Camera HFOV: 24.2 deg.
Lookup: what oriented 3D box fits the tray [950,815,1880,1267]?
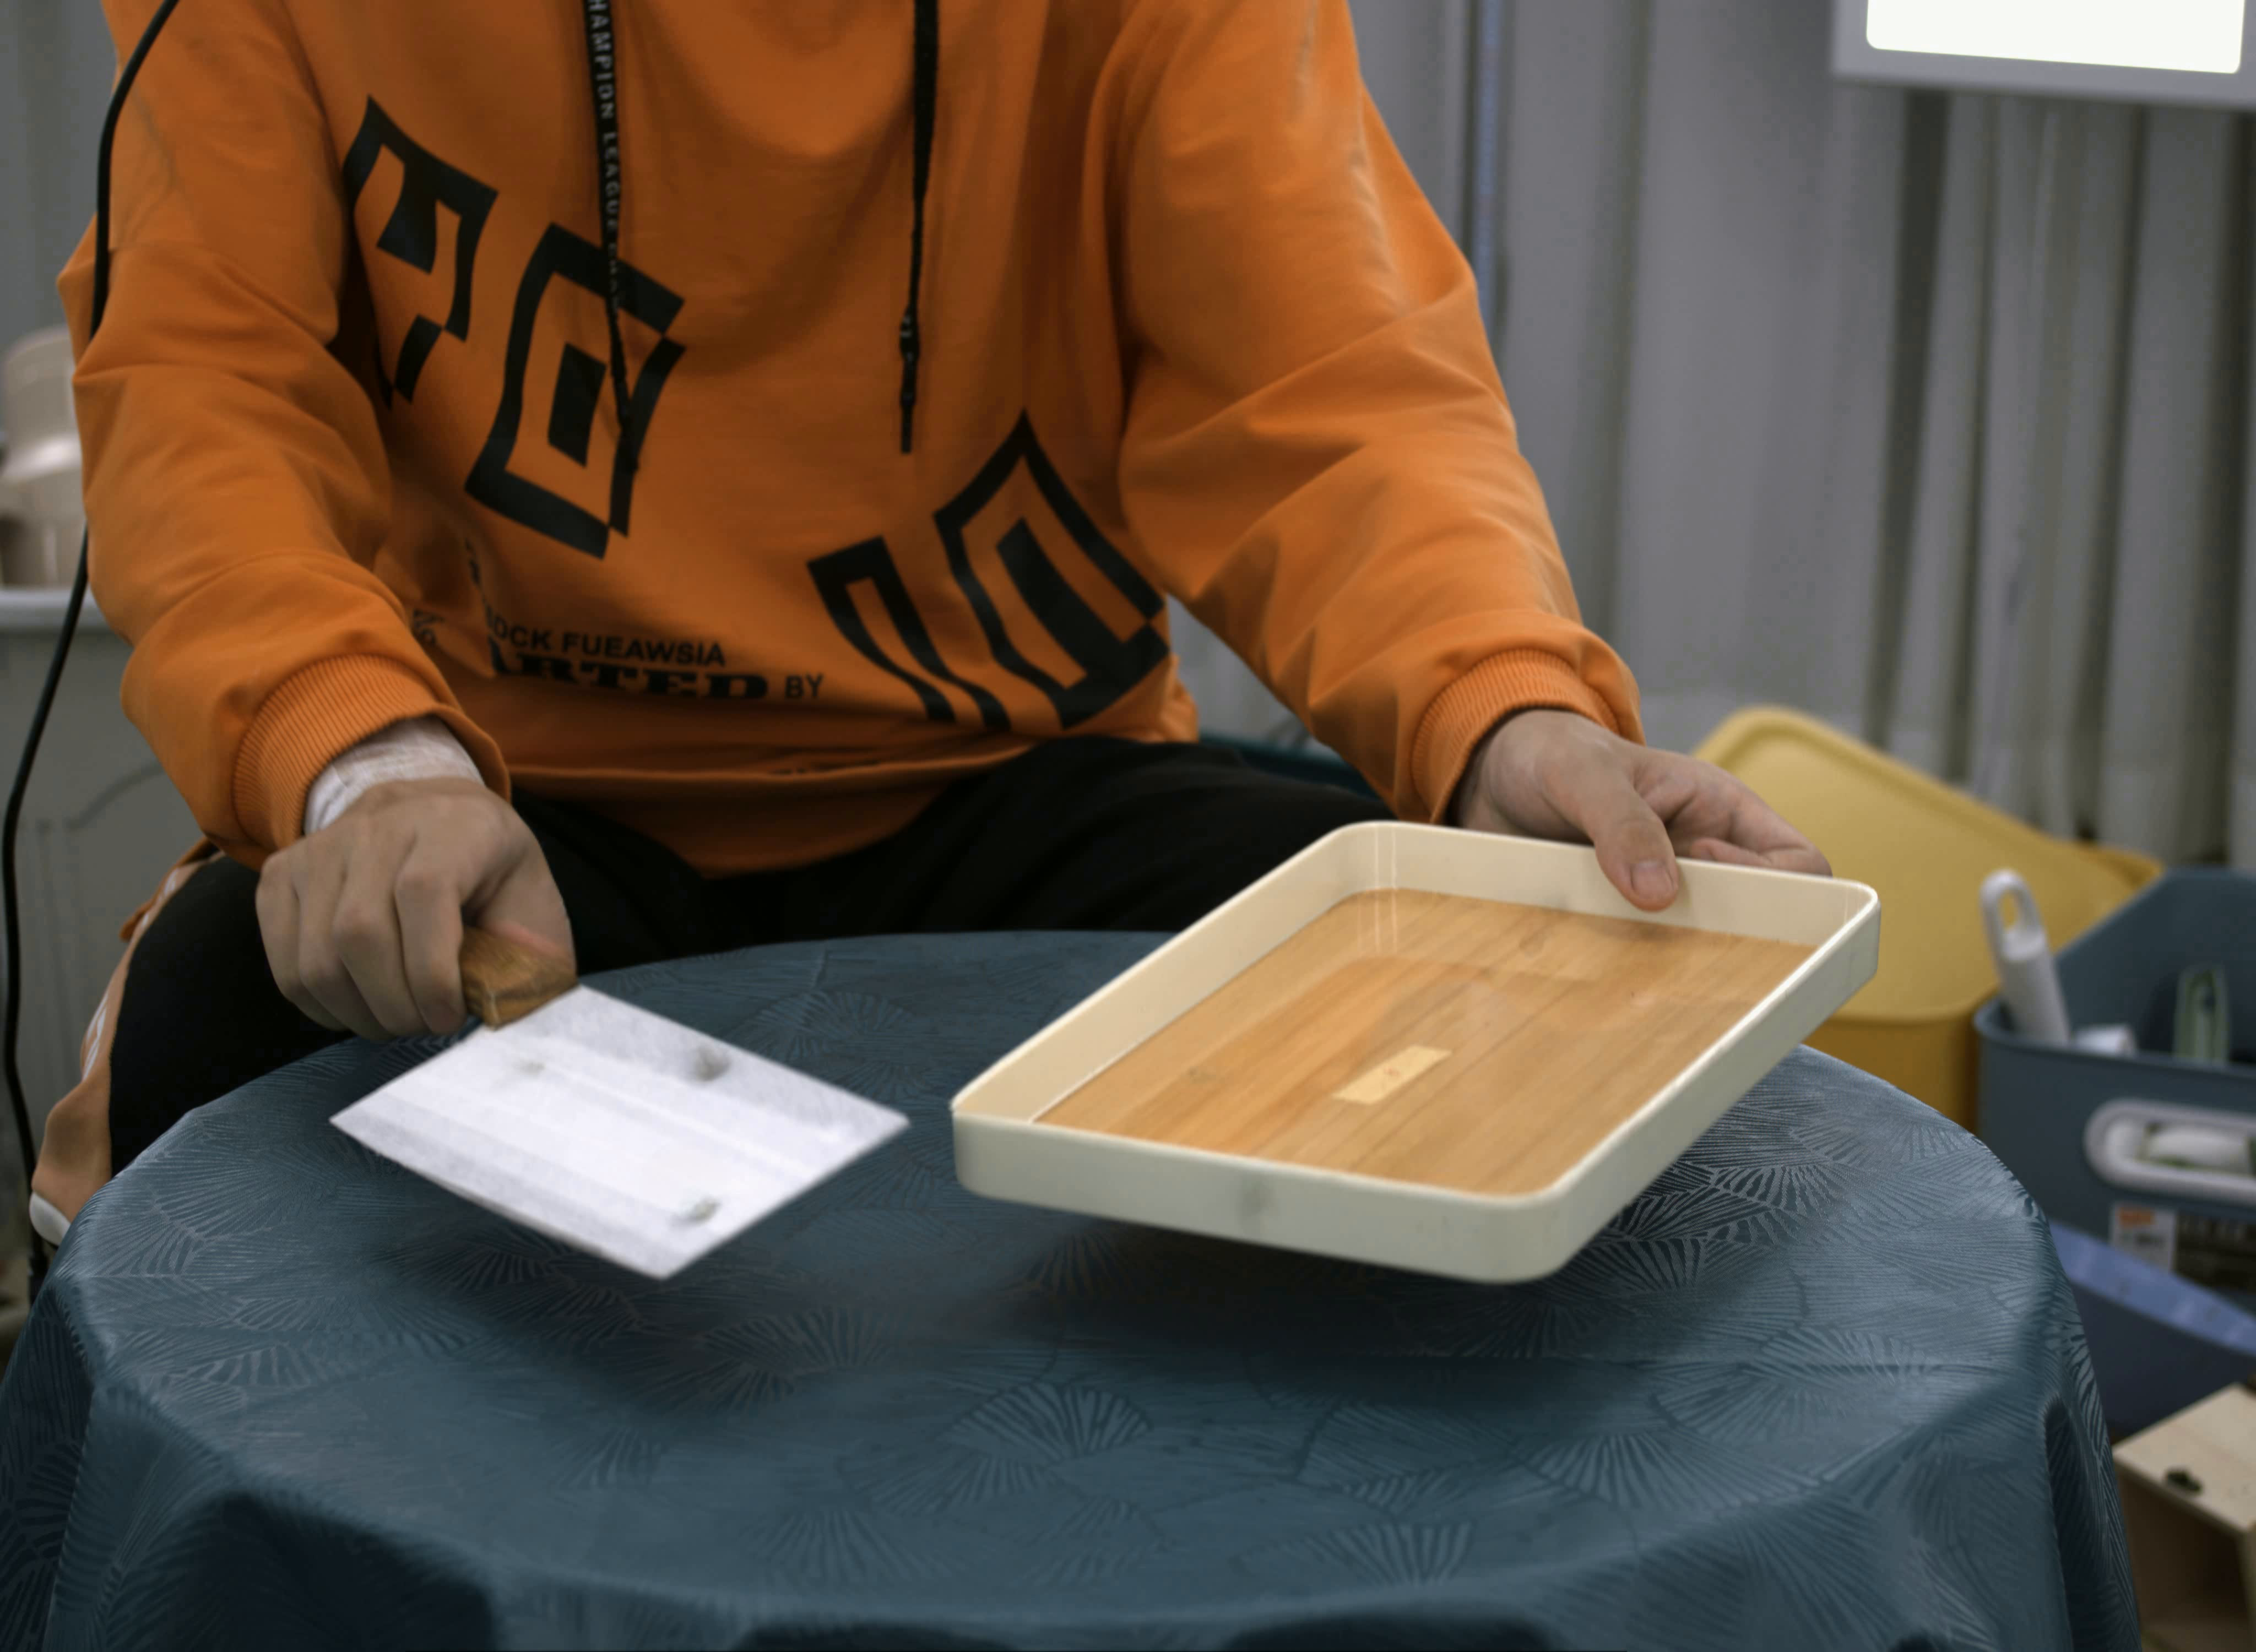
[{"bbox_3d":[0.094,0.059,1.590,0.189,0.027,0.301,7,20,25],"label":"tray"}]

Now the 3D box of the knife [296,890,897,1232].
[{"bbox_3d":[-0.183,0.070,1.559,0.093,0.021,0.302,-33,28,-27],"label":"knife"}]
